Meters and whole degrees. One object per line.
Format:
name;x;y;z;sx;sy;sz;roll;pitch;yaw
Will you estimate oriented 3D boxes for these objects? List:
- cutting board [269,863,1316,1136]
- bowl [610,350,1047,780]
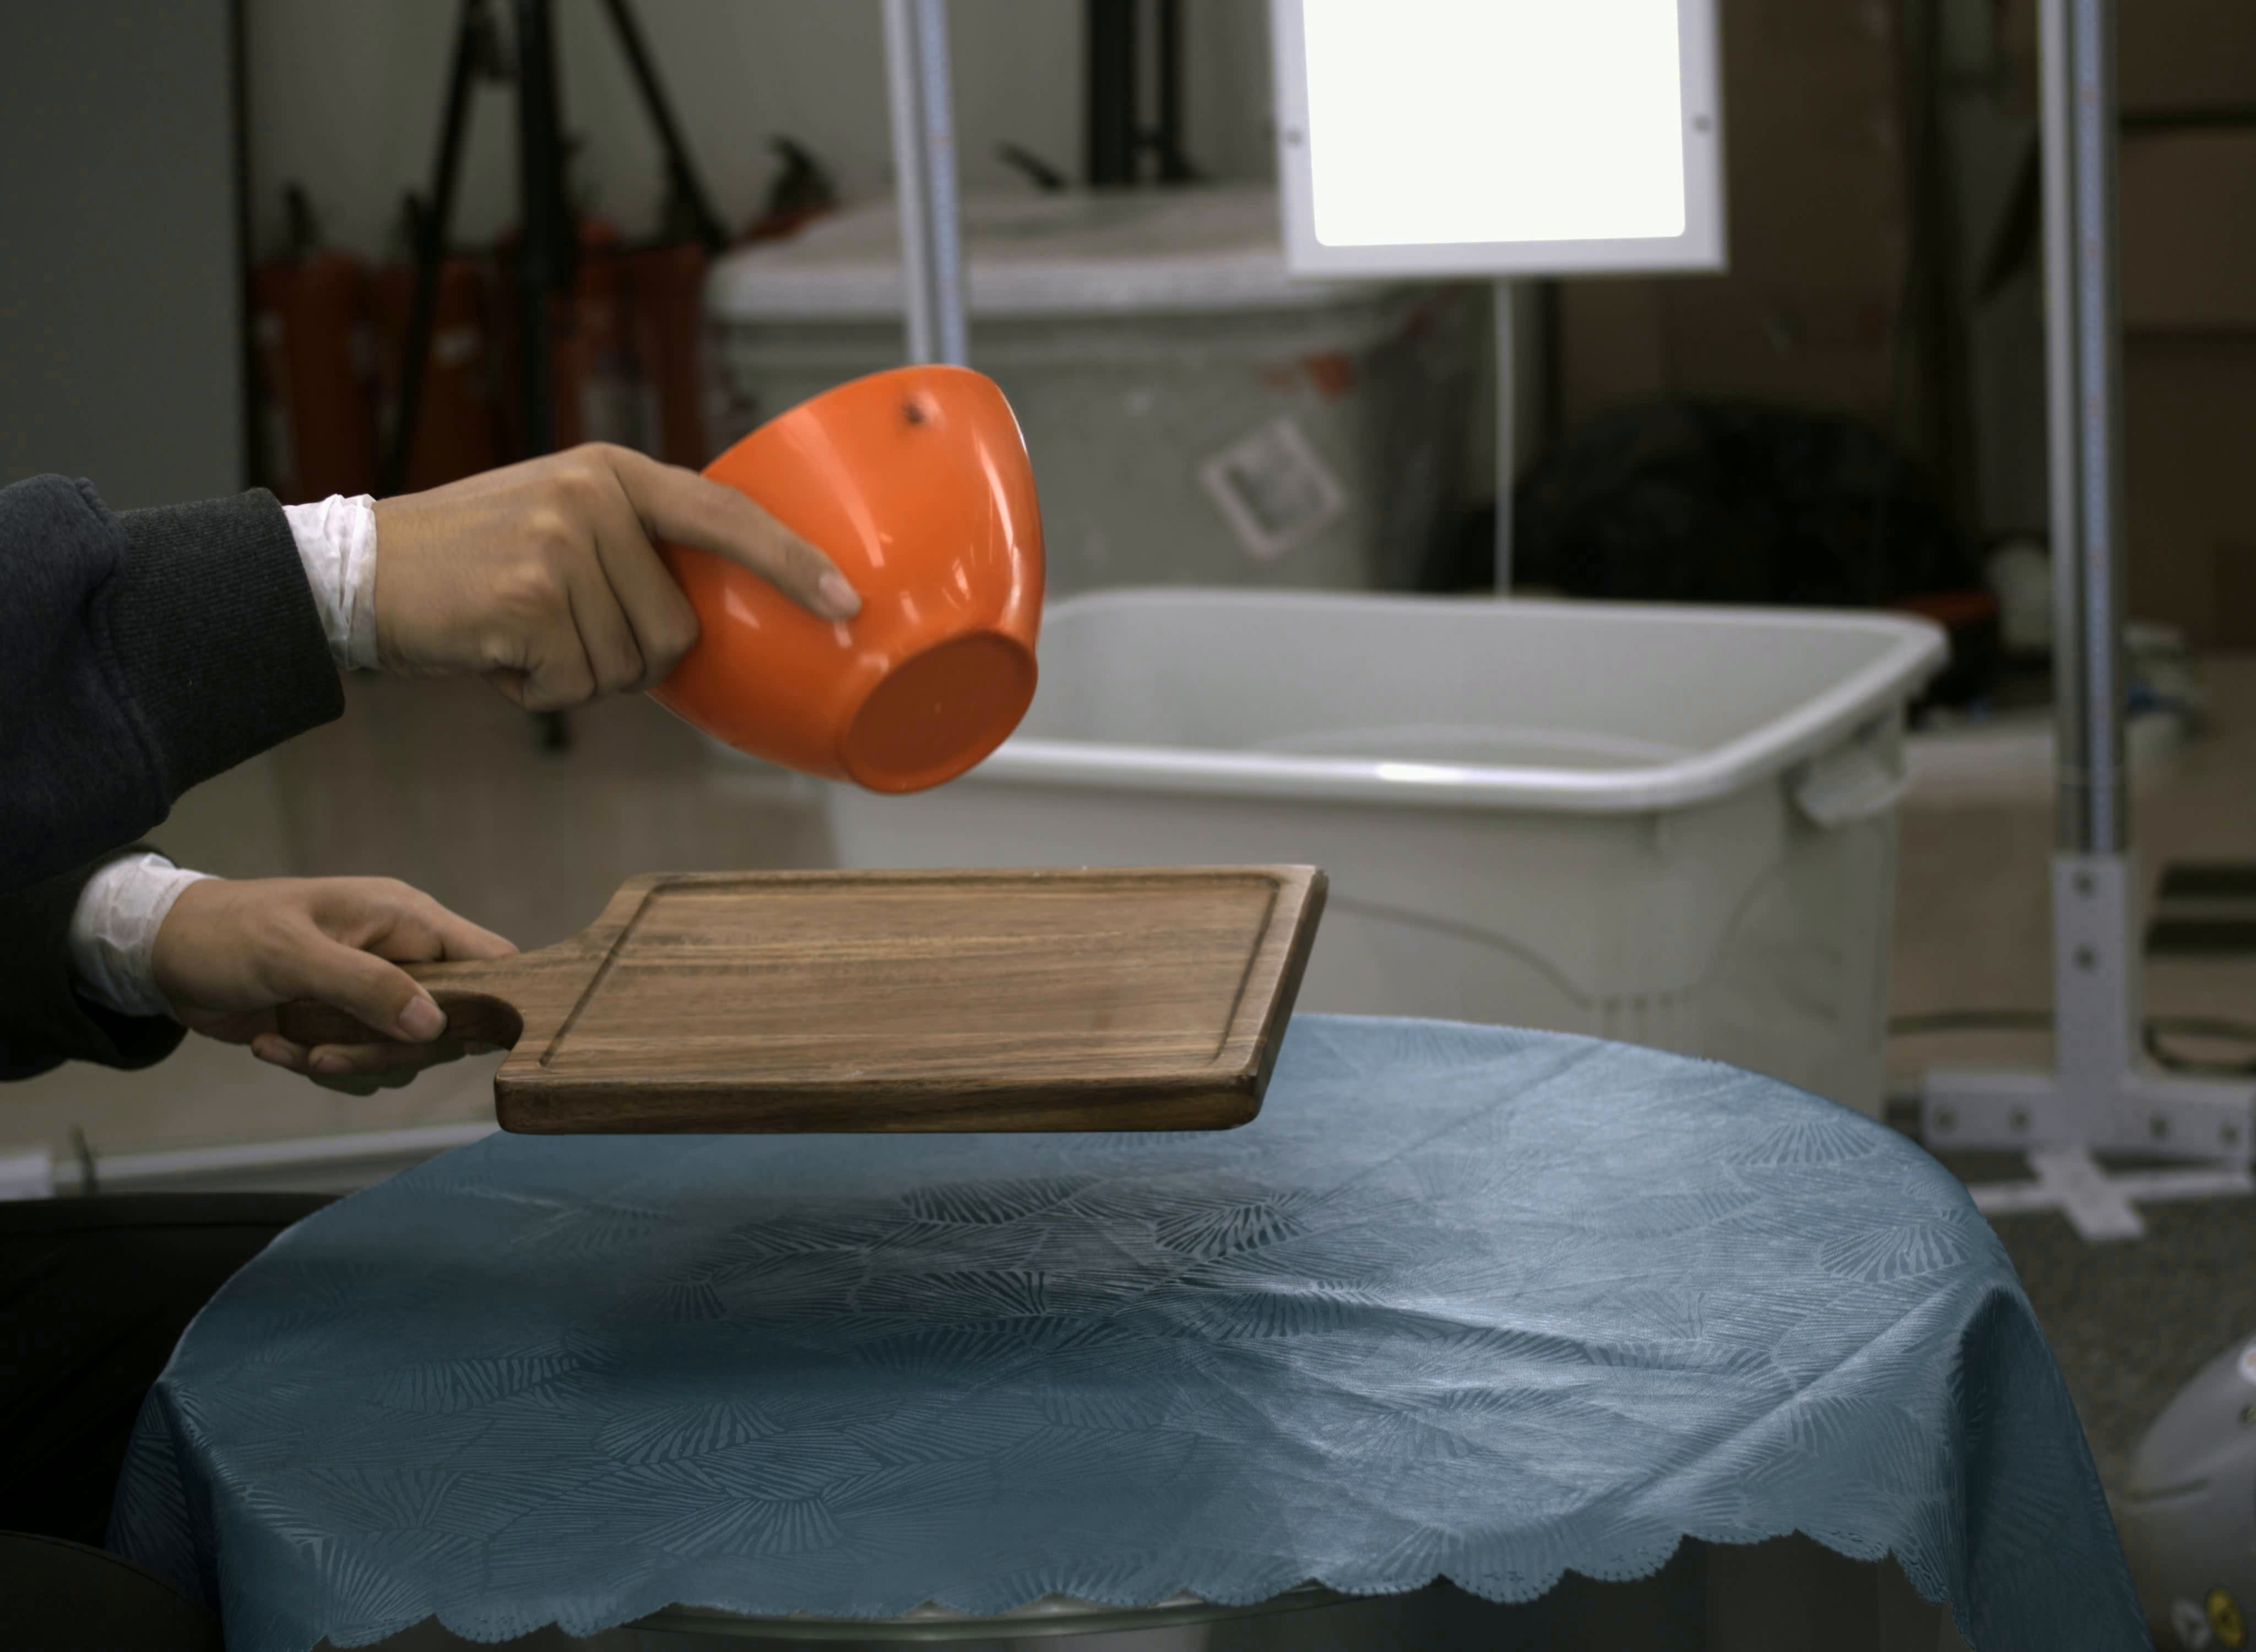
cutting board;-0.118;0.057;1.855;0.354;0.023;0.199;-1;20;11
bowl;-0.076;-0.066;1.679;0.144;0.150;0.106;-12;48;-30
